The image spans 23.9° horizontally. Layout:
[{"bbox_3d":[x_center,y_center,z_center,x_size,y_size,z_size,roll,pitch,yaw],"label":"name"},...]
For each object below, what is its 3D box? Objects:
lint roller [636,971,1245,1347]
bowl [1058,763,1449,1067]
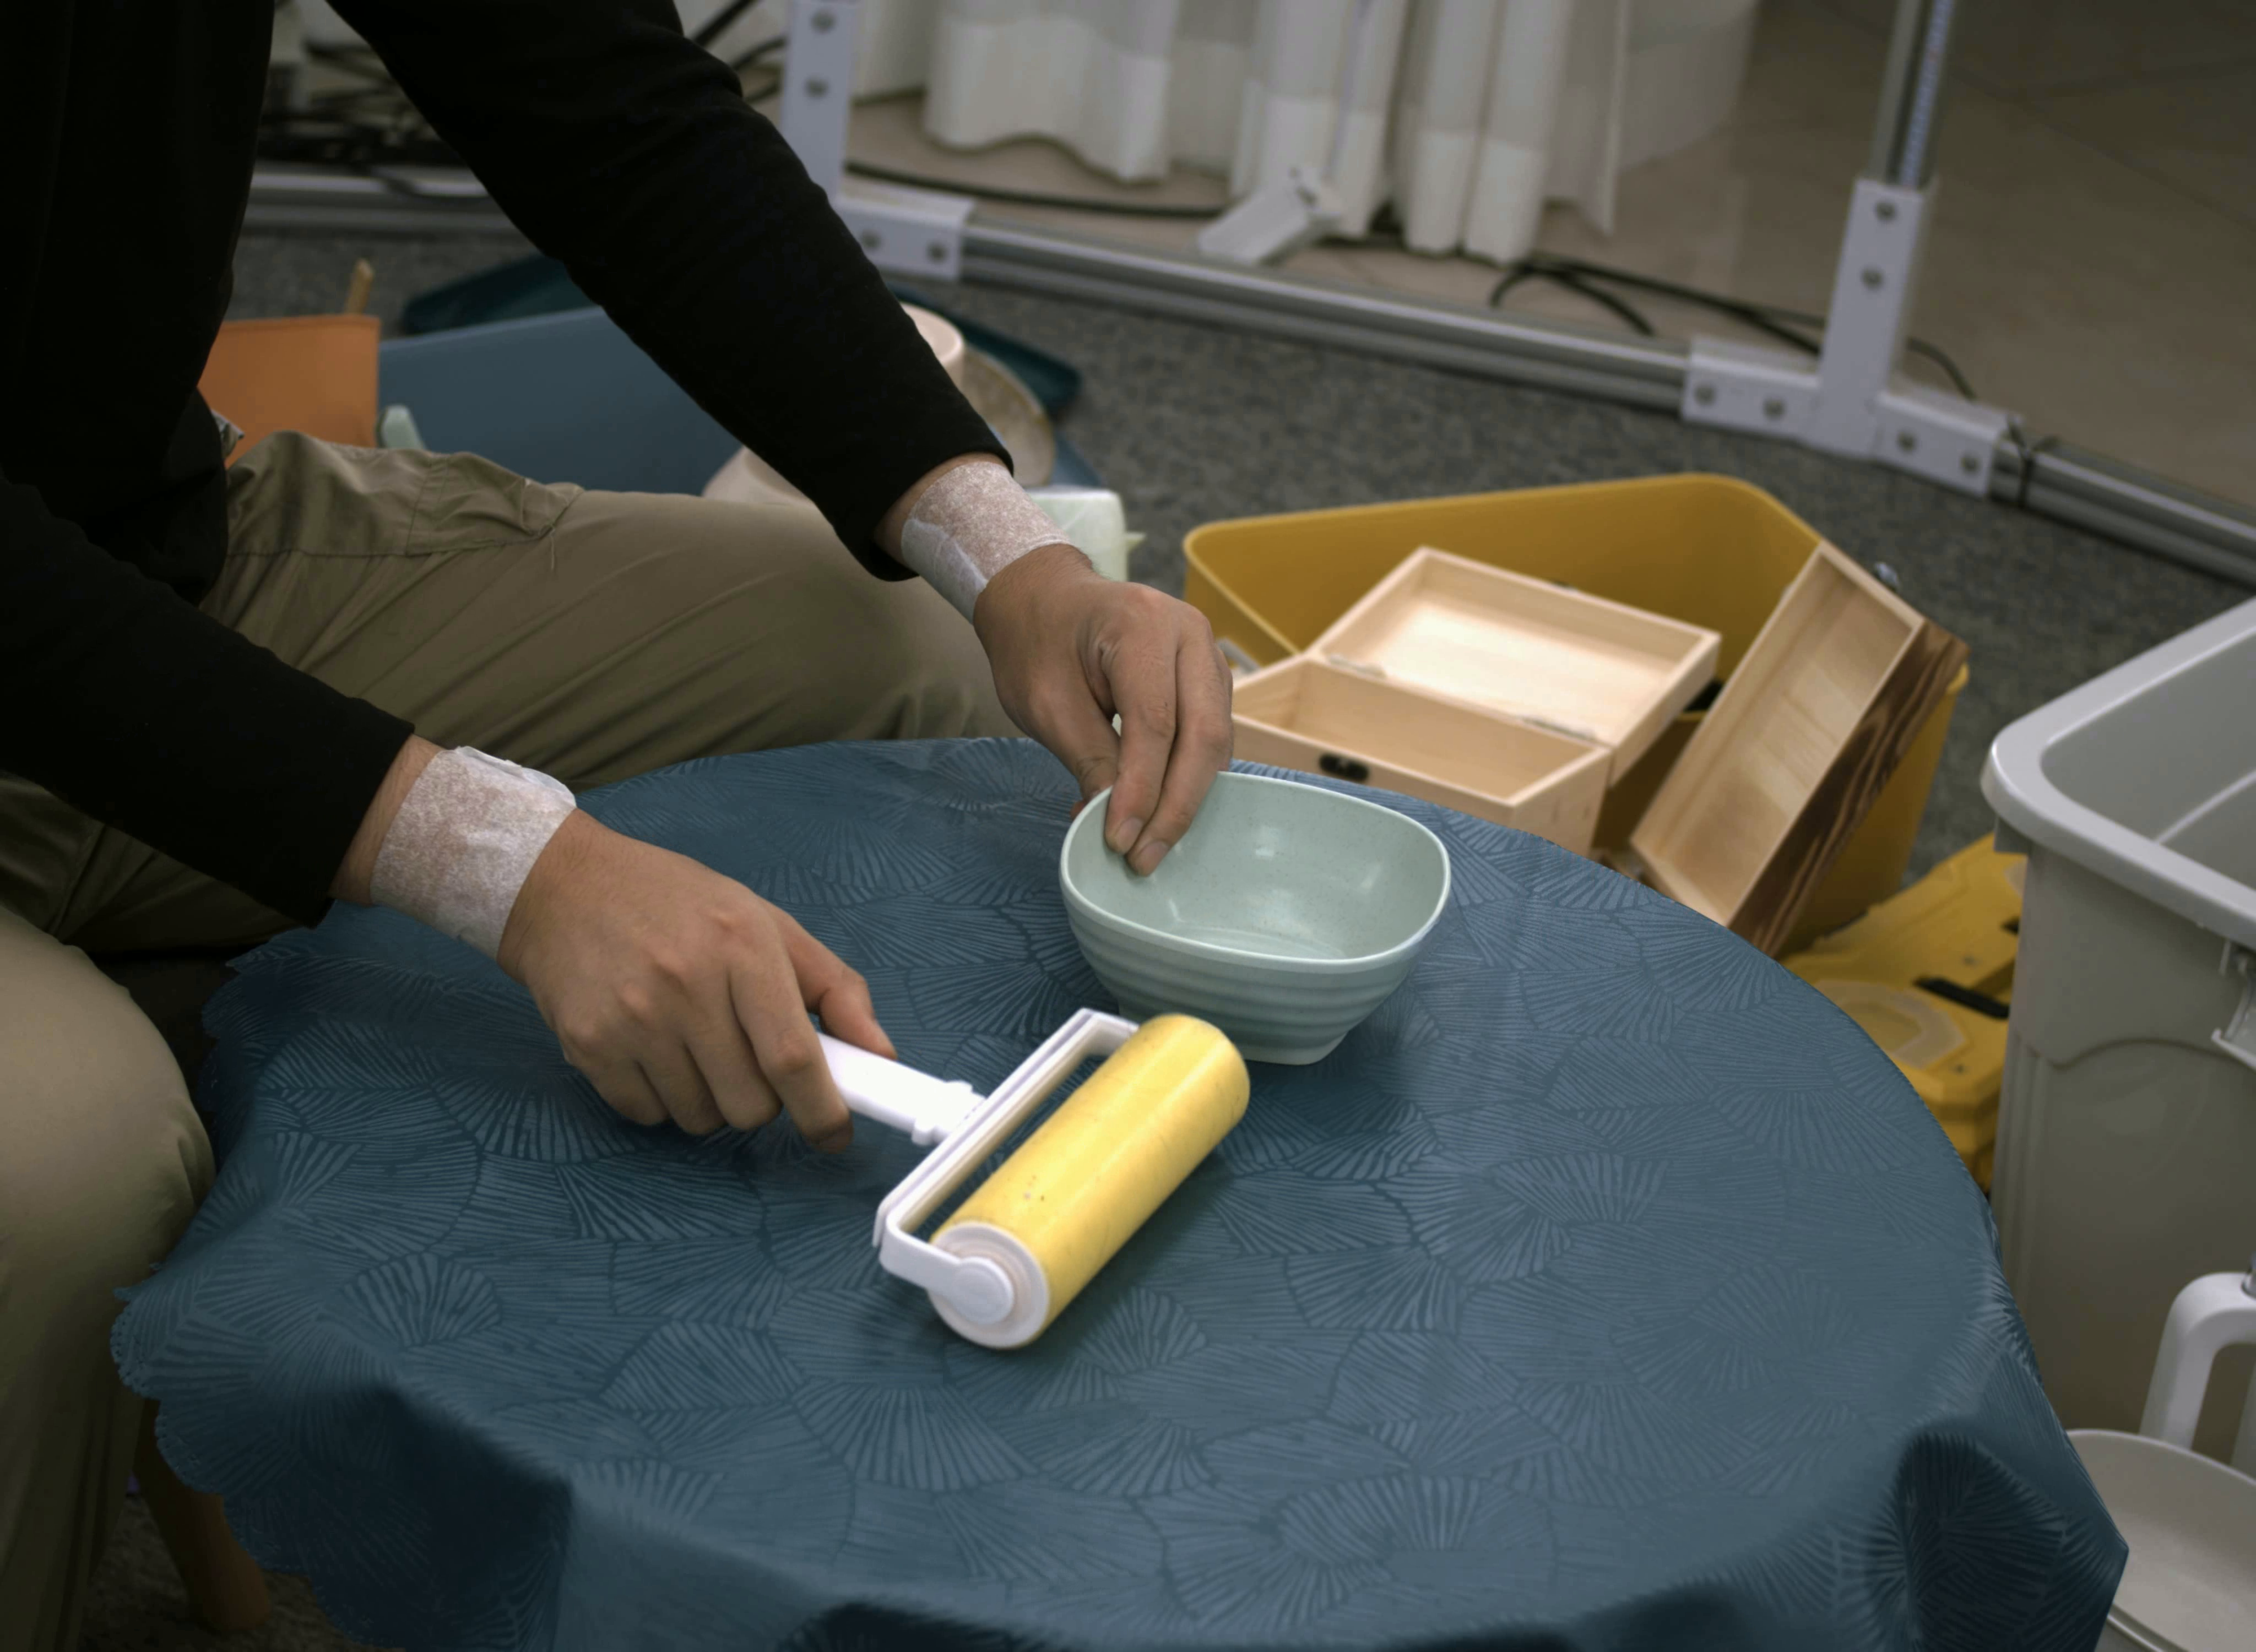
[{"bbox_3d":[-0.075,0.083,1.773,0.192,0.051,0.174,28,32,11],"label":"lint roller"},{"bbox_3d":[0.042,0.038,1.917,0.151,0.058,0.152,6,28,-4],"label":"bowl"}]
